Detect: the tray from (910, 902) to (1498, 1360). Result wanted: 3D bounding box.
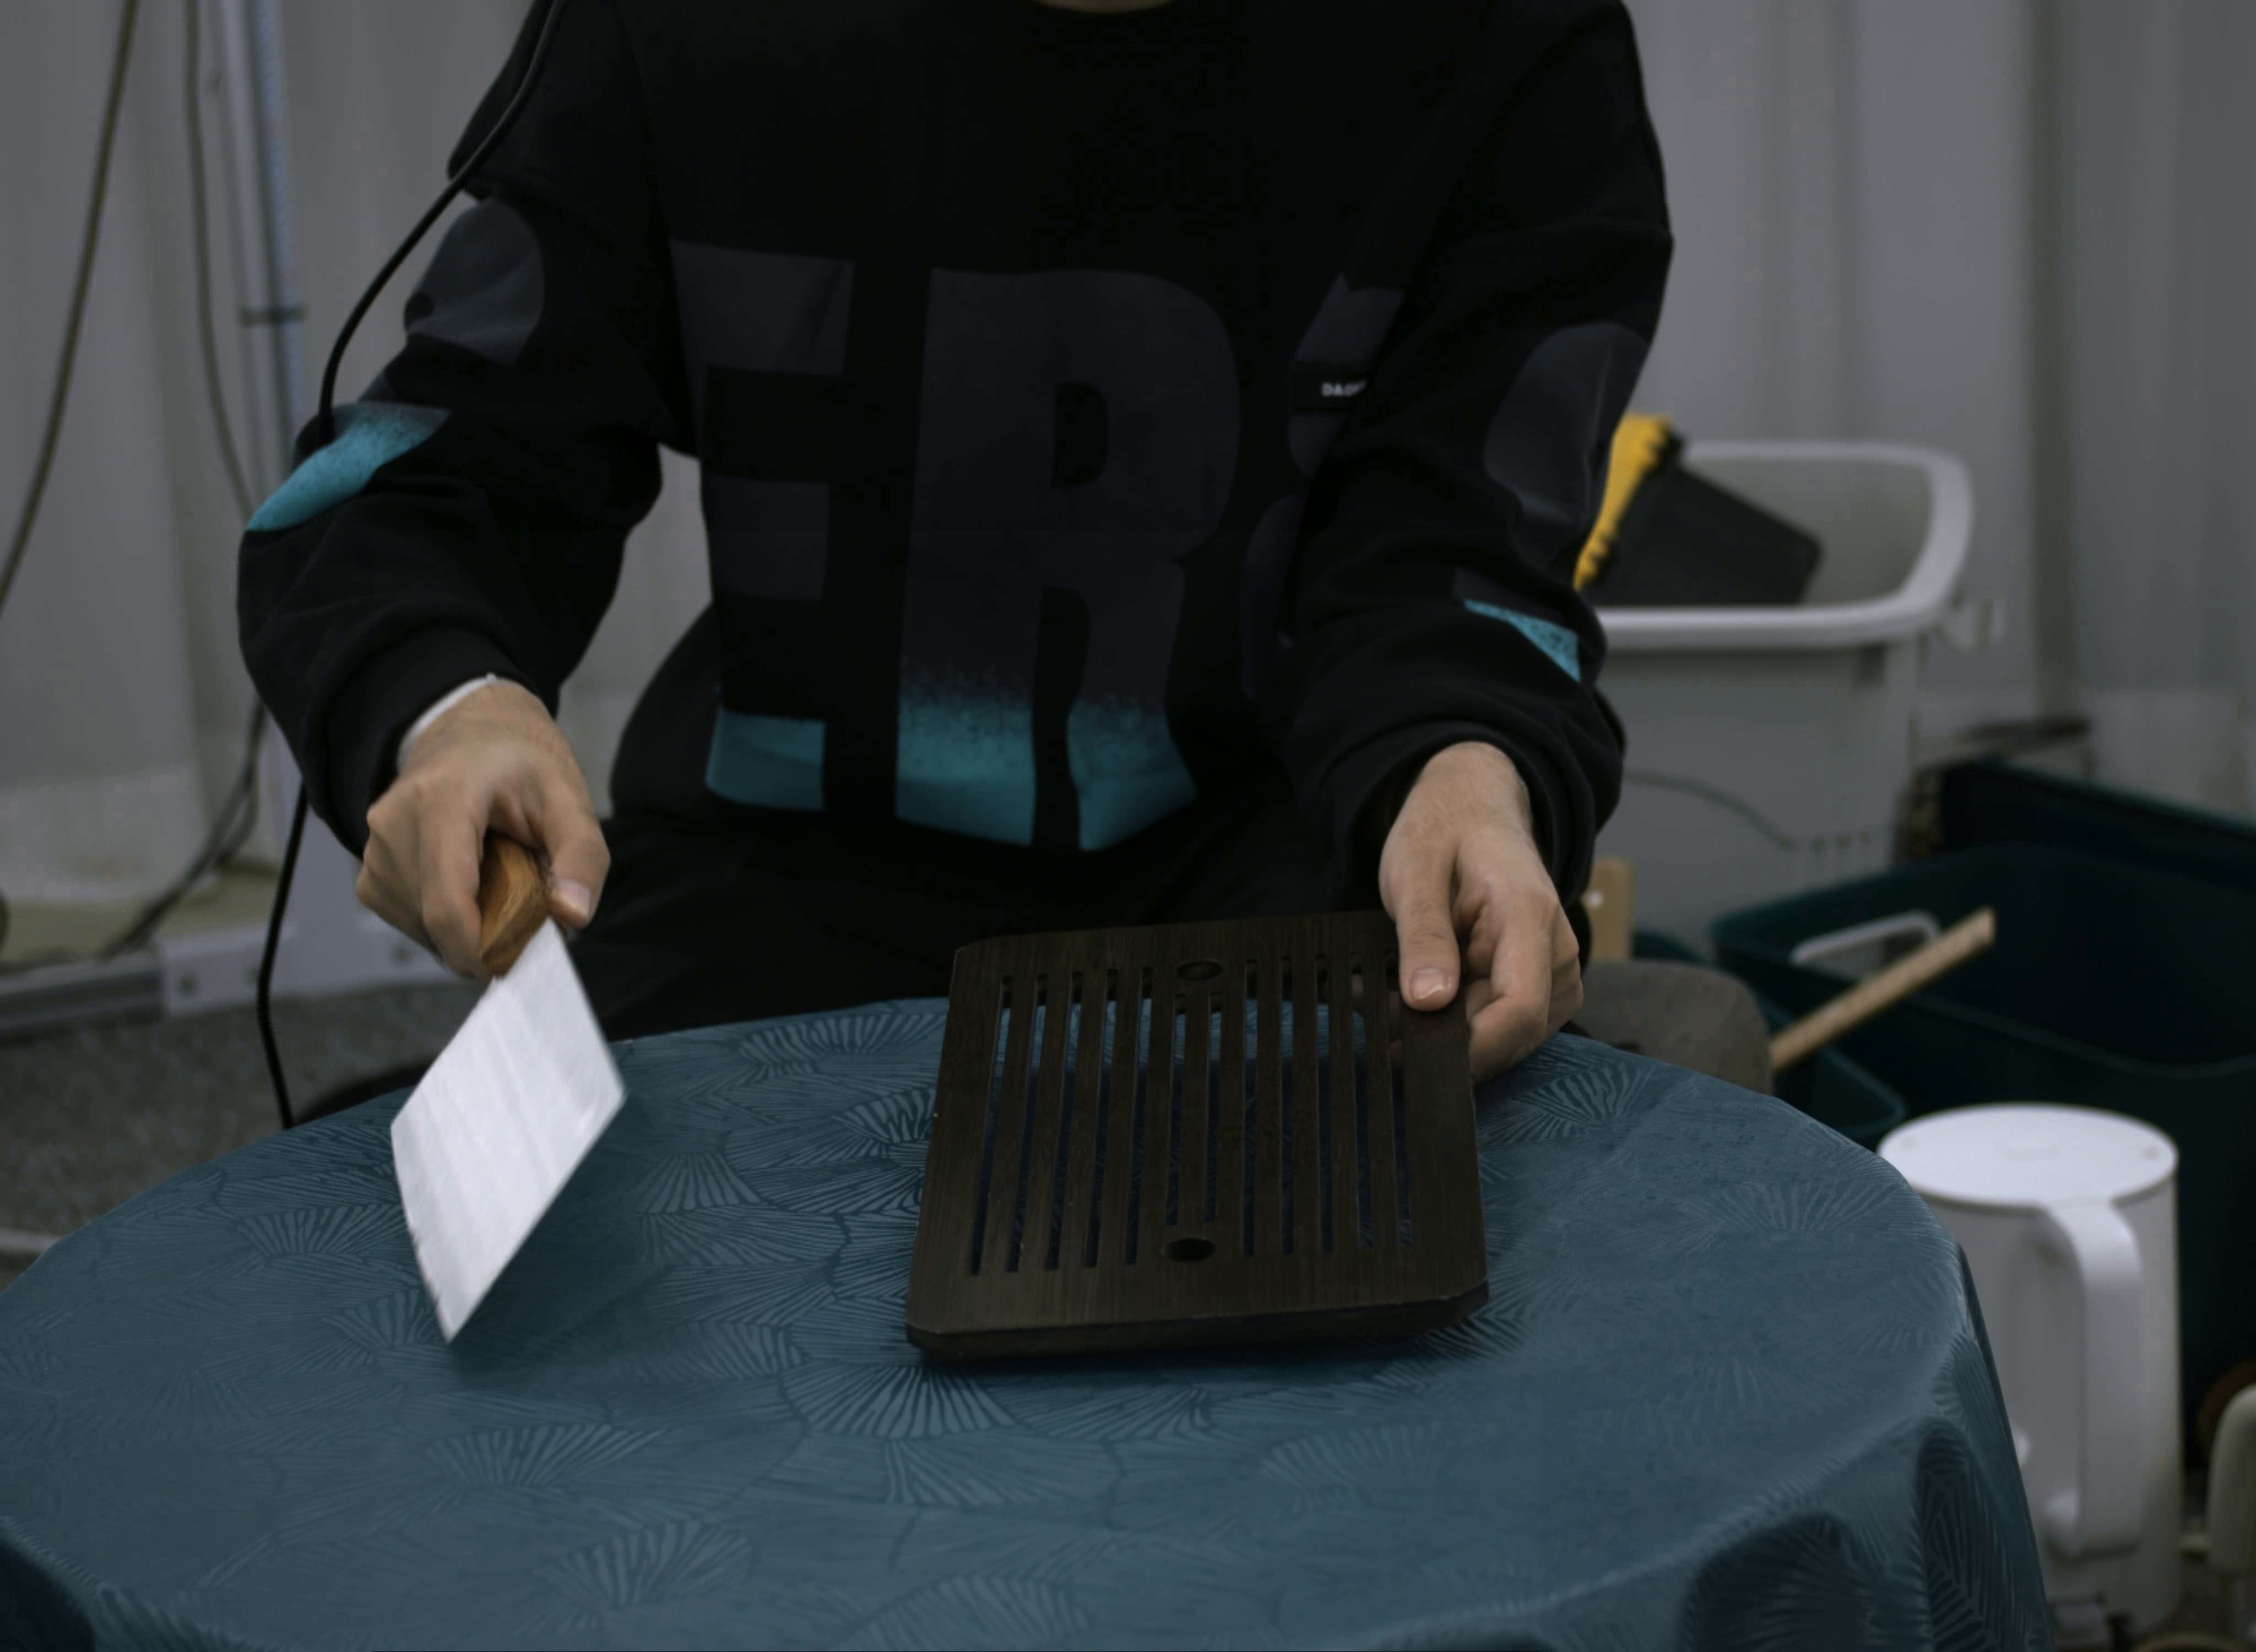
[{"bbox_3d":[0.026,0.092,1.700,0.169,0.018,0.308,-4,20,4],"label":"tray"}]

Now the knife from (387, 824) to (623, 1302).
[{"bbox_3d":[-0.202,0.074,1.718,0.021,0.093,0.308,35,6,-19],"label":"knife"}]
